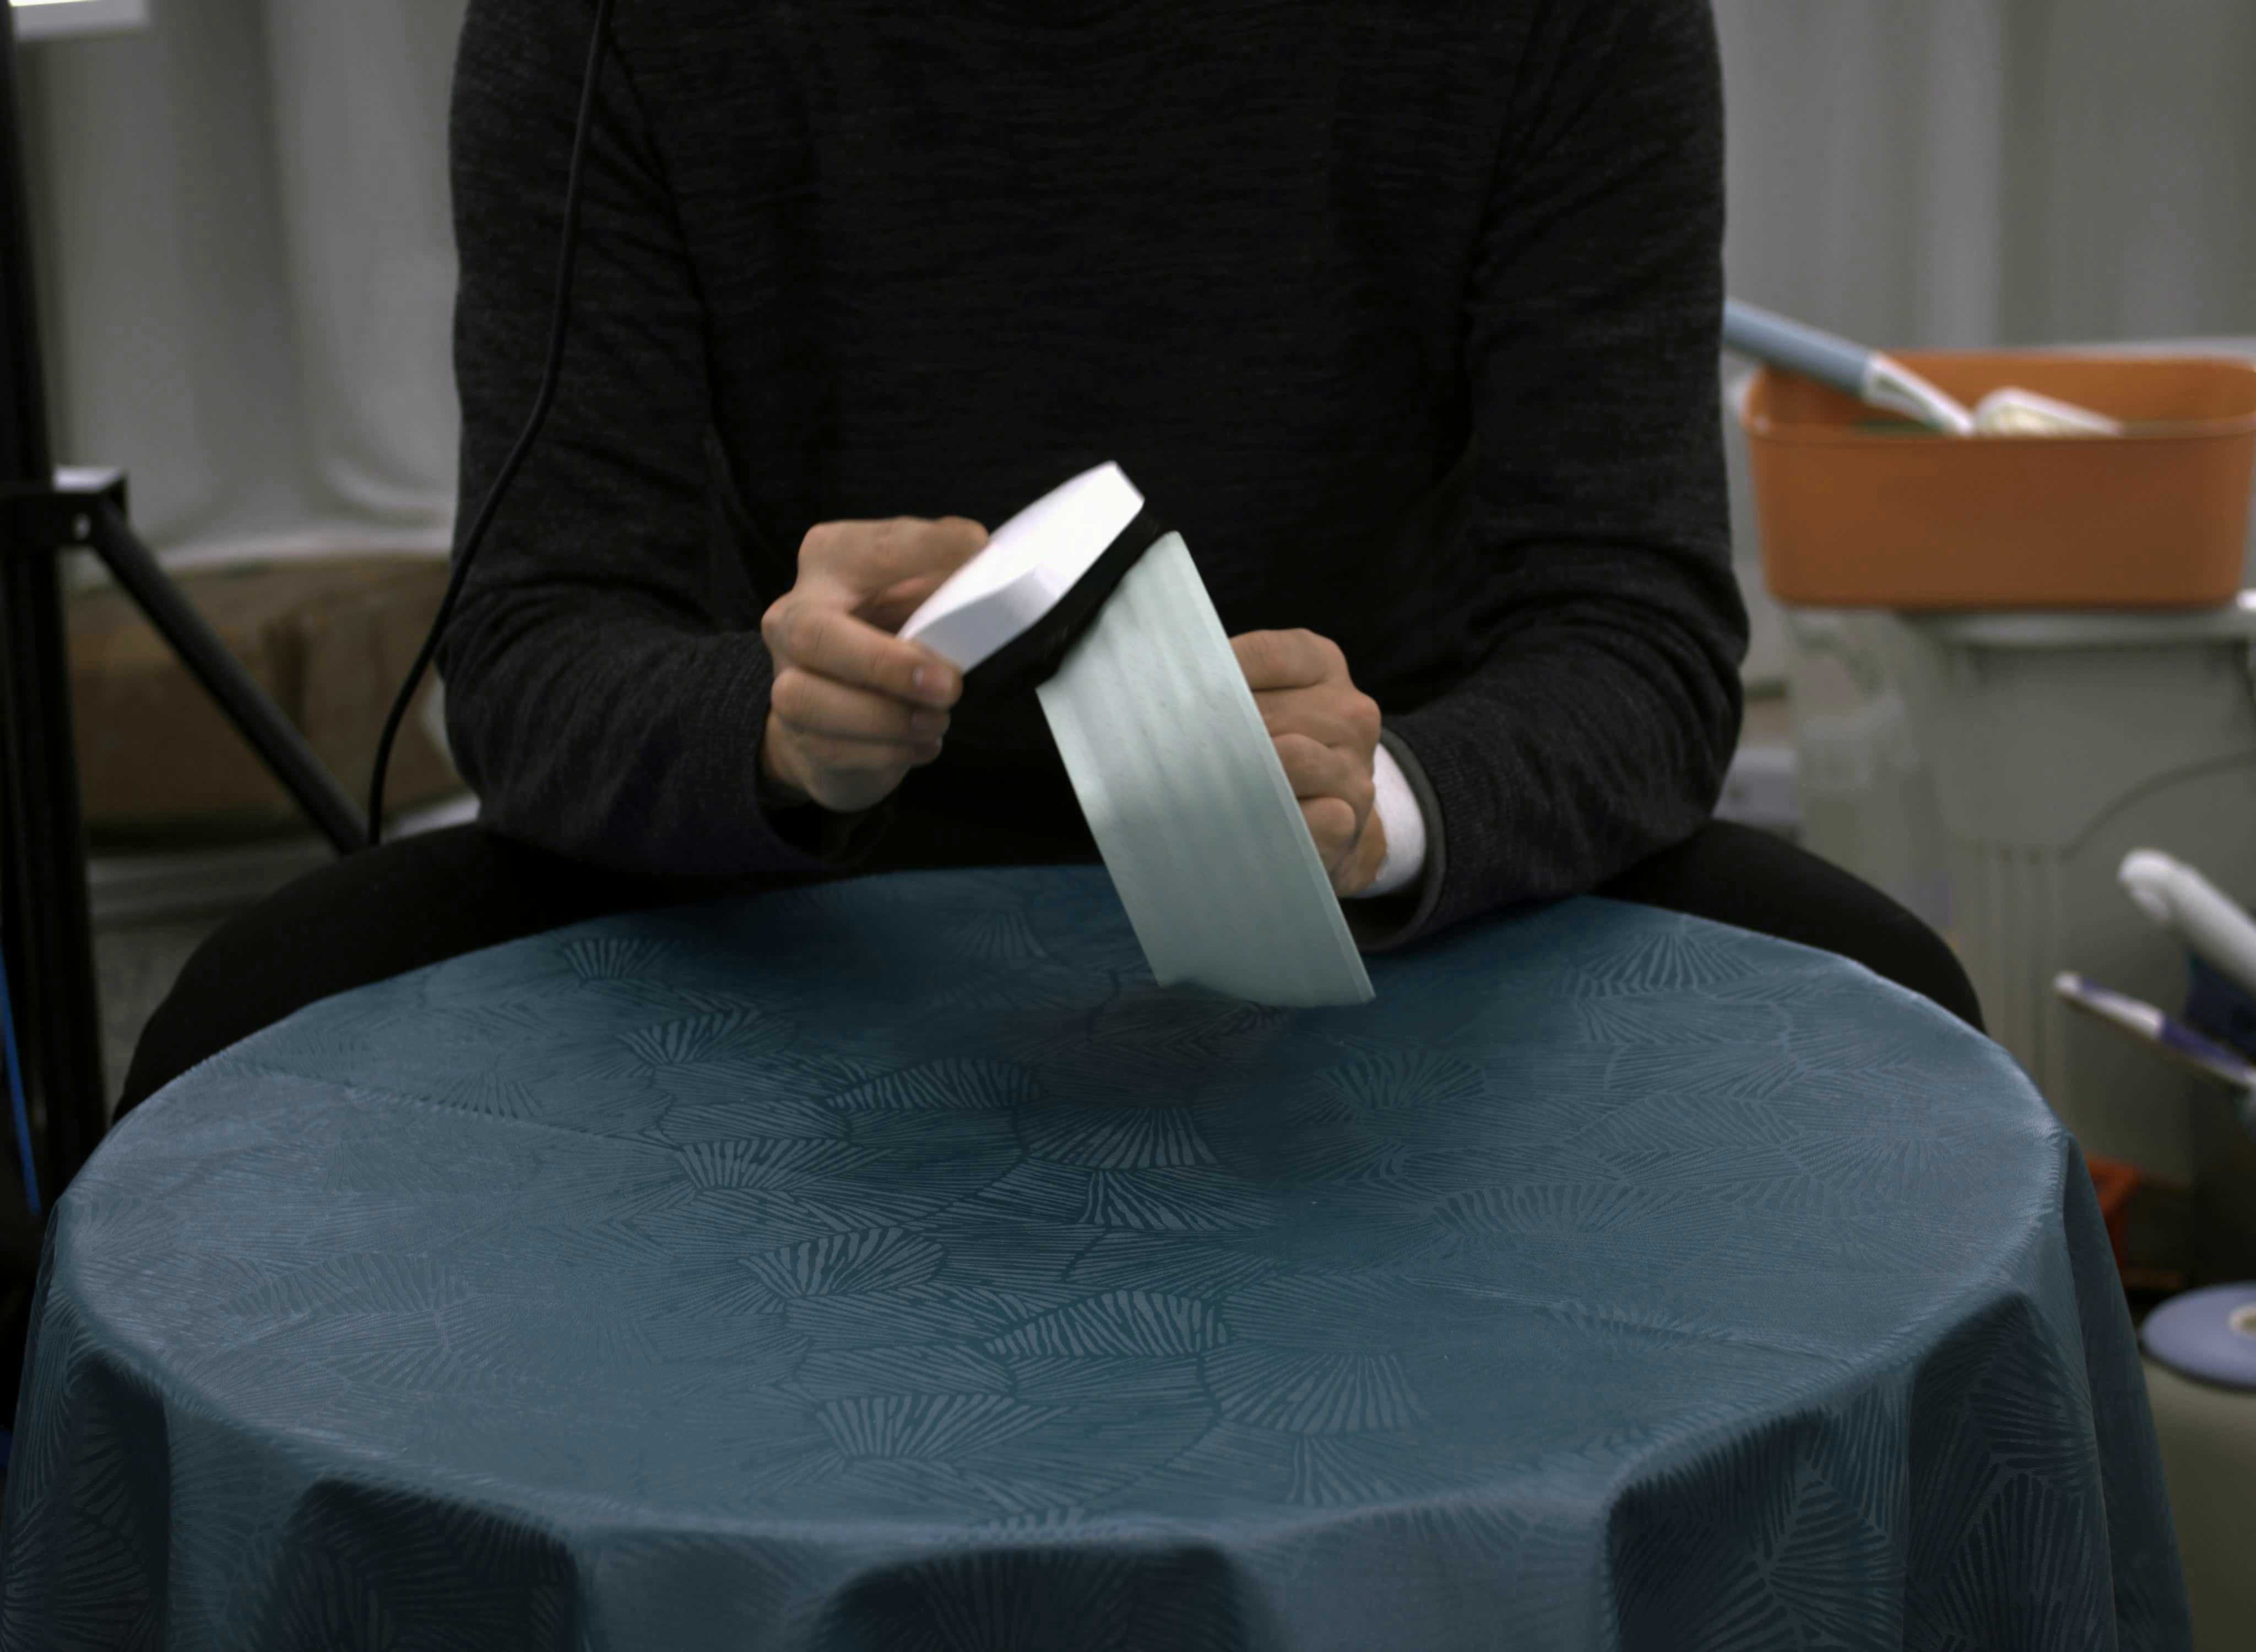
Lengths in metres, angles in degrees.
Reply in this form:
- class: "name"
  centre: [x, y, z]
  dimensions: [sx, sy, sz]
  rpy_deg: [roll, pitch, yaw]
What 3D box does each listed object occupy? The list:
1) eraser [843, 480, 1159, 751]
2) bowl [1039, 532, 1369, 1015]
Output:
- class: "eraser"
  centre: [-0.039, -0.065, 1.614]
  dimensions: [0.063, 0.034, 0.133]
  rpy_deg: [-48, 9, -28]
- class: "bowl"
  centre: [0.017, -0.007, 1.566]
  dimensions: [0.058, 0.150, 0.152]
  rpy_deg: [-22, 16, 2]
